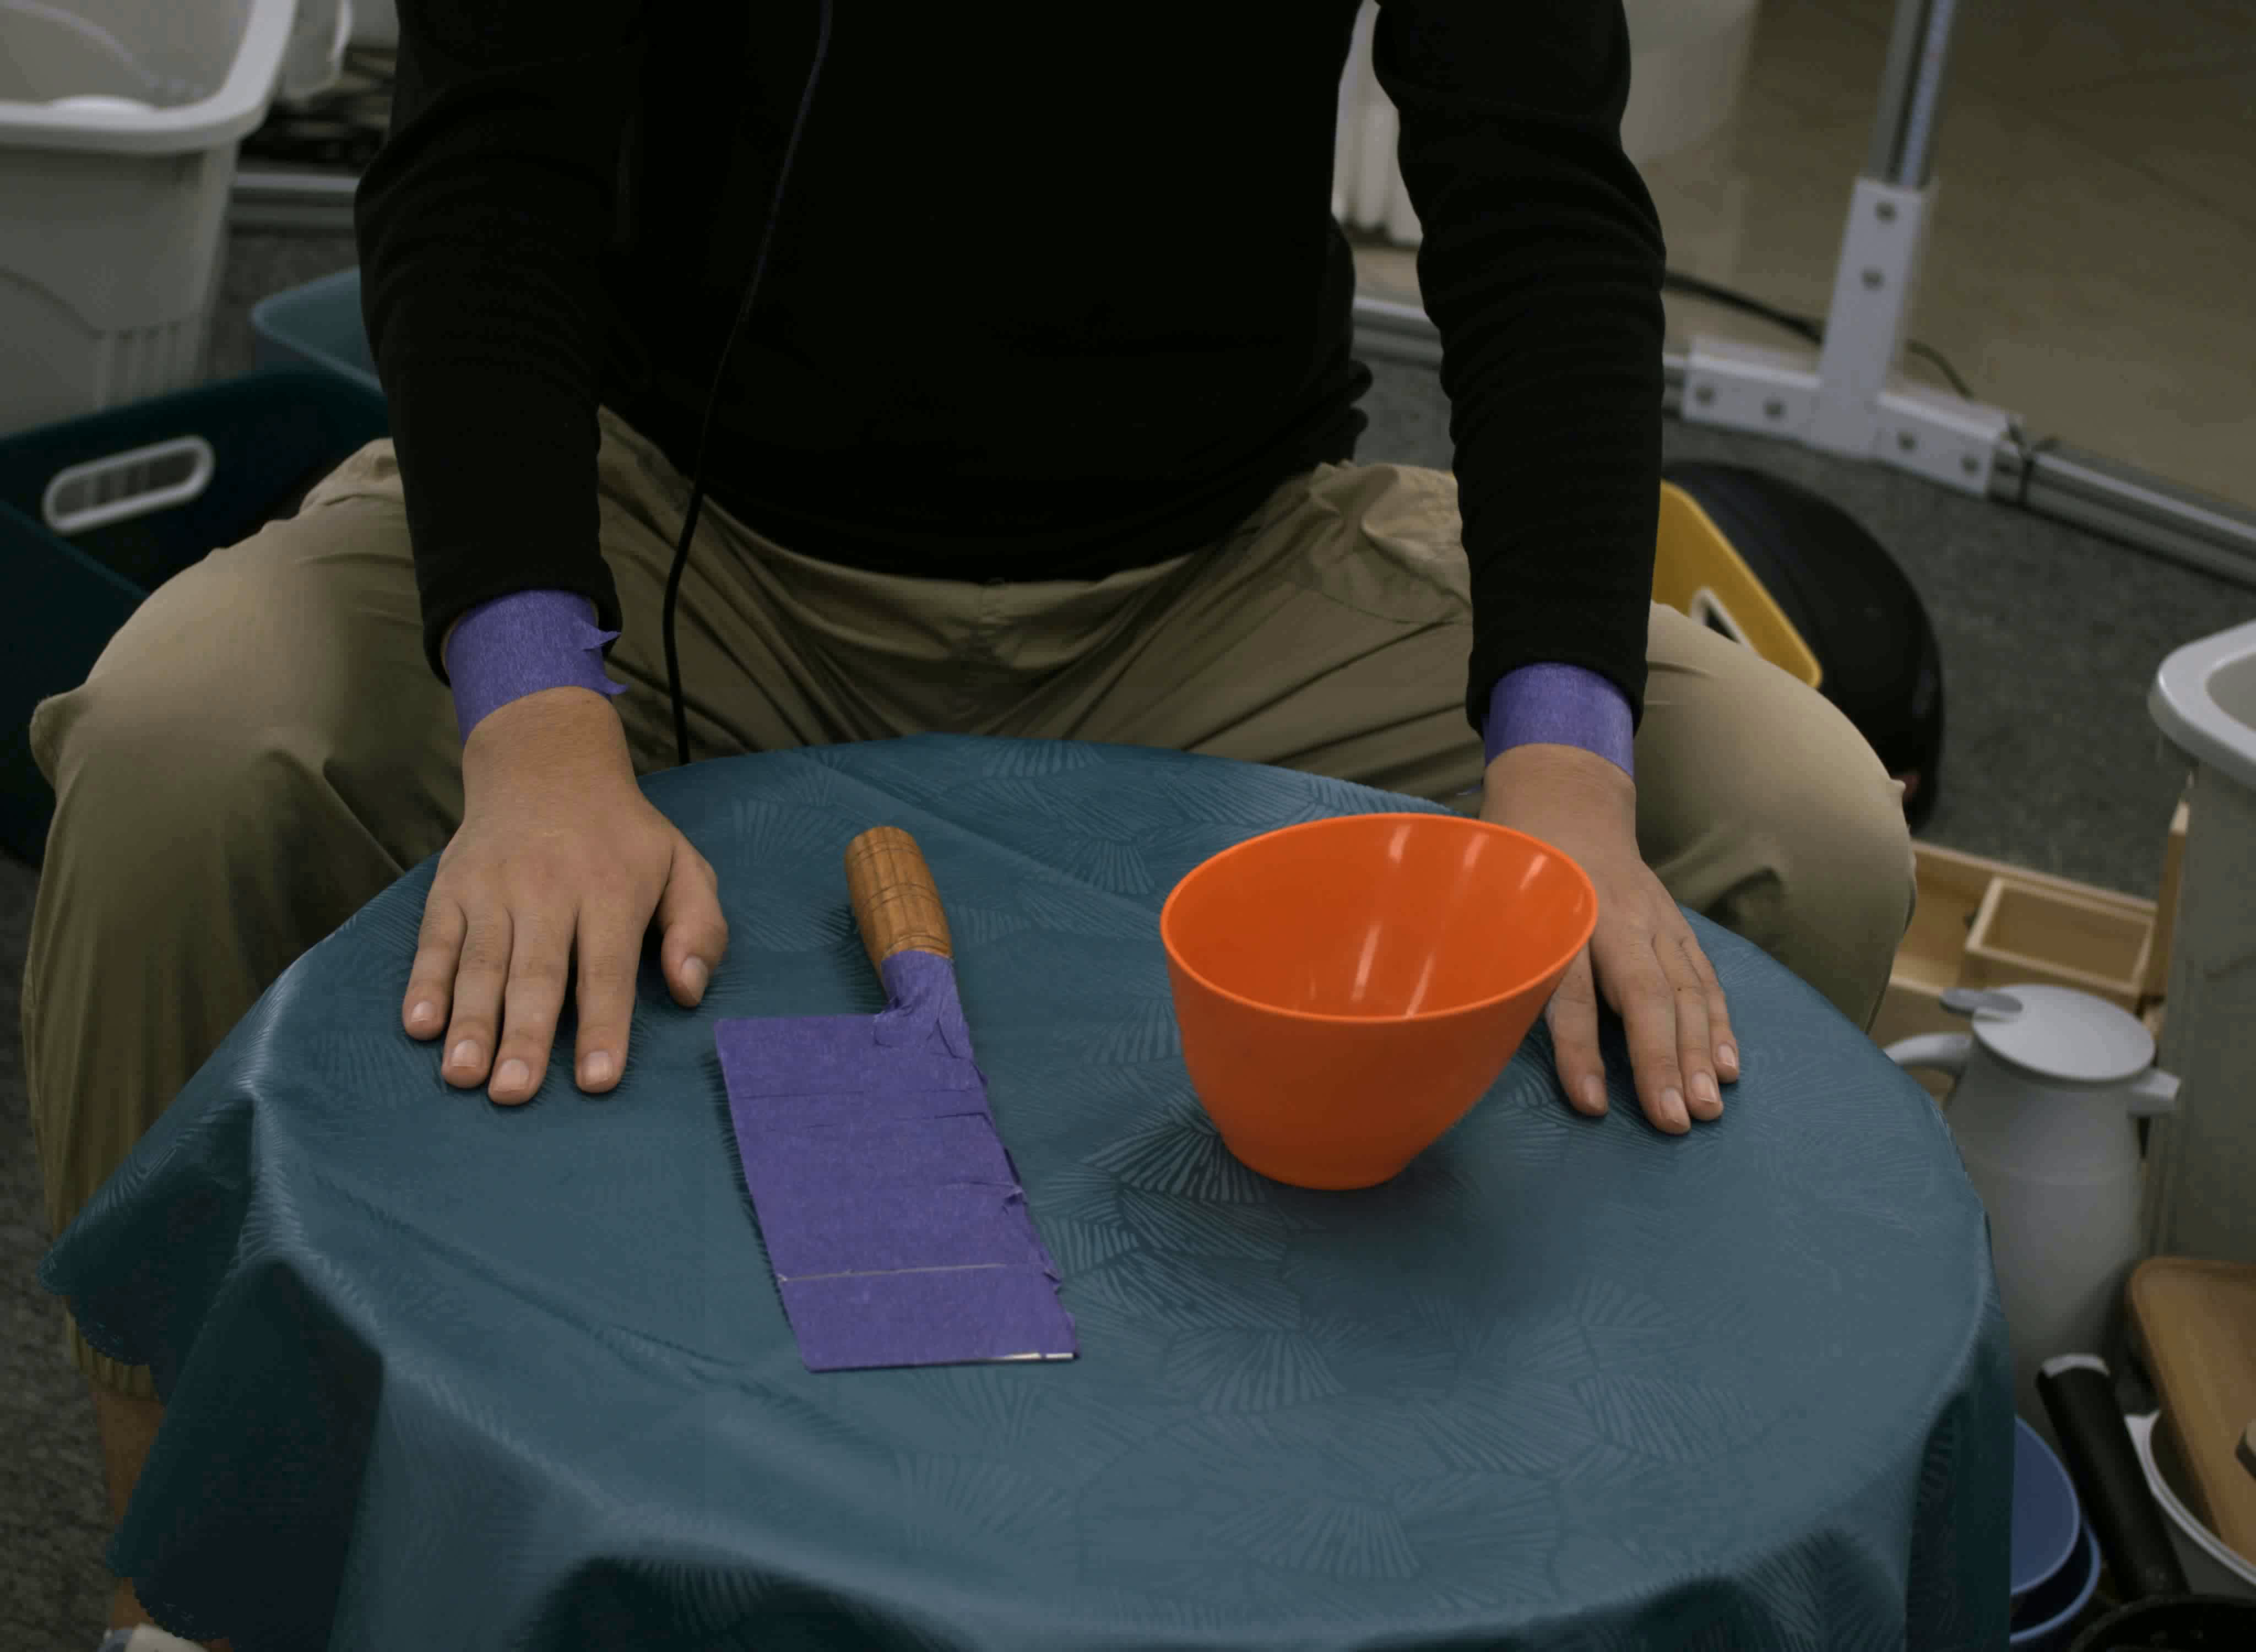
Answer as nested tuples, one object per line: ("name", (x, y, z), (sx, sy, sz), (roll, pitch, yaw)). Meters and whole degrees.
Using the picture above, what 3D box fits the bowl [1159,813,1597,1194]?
("bowl", (0.081, 0.066, 1.825), (0.147, 0.104, 0.149), (4, 28, -3))

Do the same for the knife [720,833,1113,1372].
("knife", (-0.088, 0.090, 1.823), (0.103, 0.032, 0.318), (0, 28, -14))
